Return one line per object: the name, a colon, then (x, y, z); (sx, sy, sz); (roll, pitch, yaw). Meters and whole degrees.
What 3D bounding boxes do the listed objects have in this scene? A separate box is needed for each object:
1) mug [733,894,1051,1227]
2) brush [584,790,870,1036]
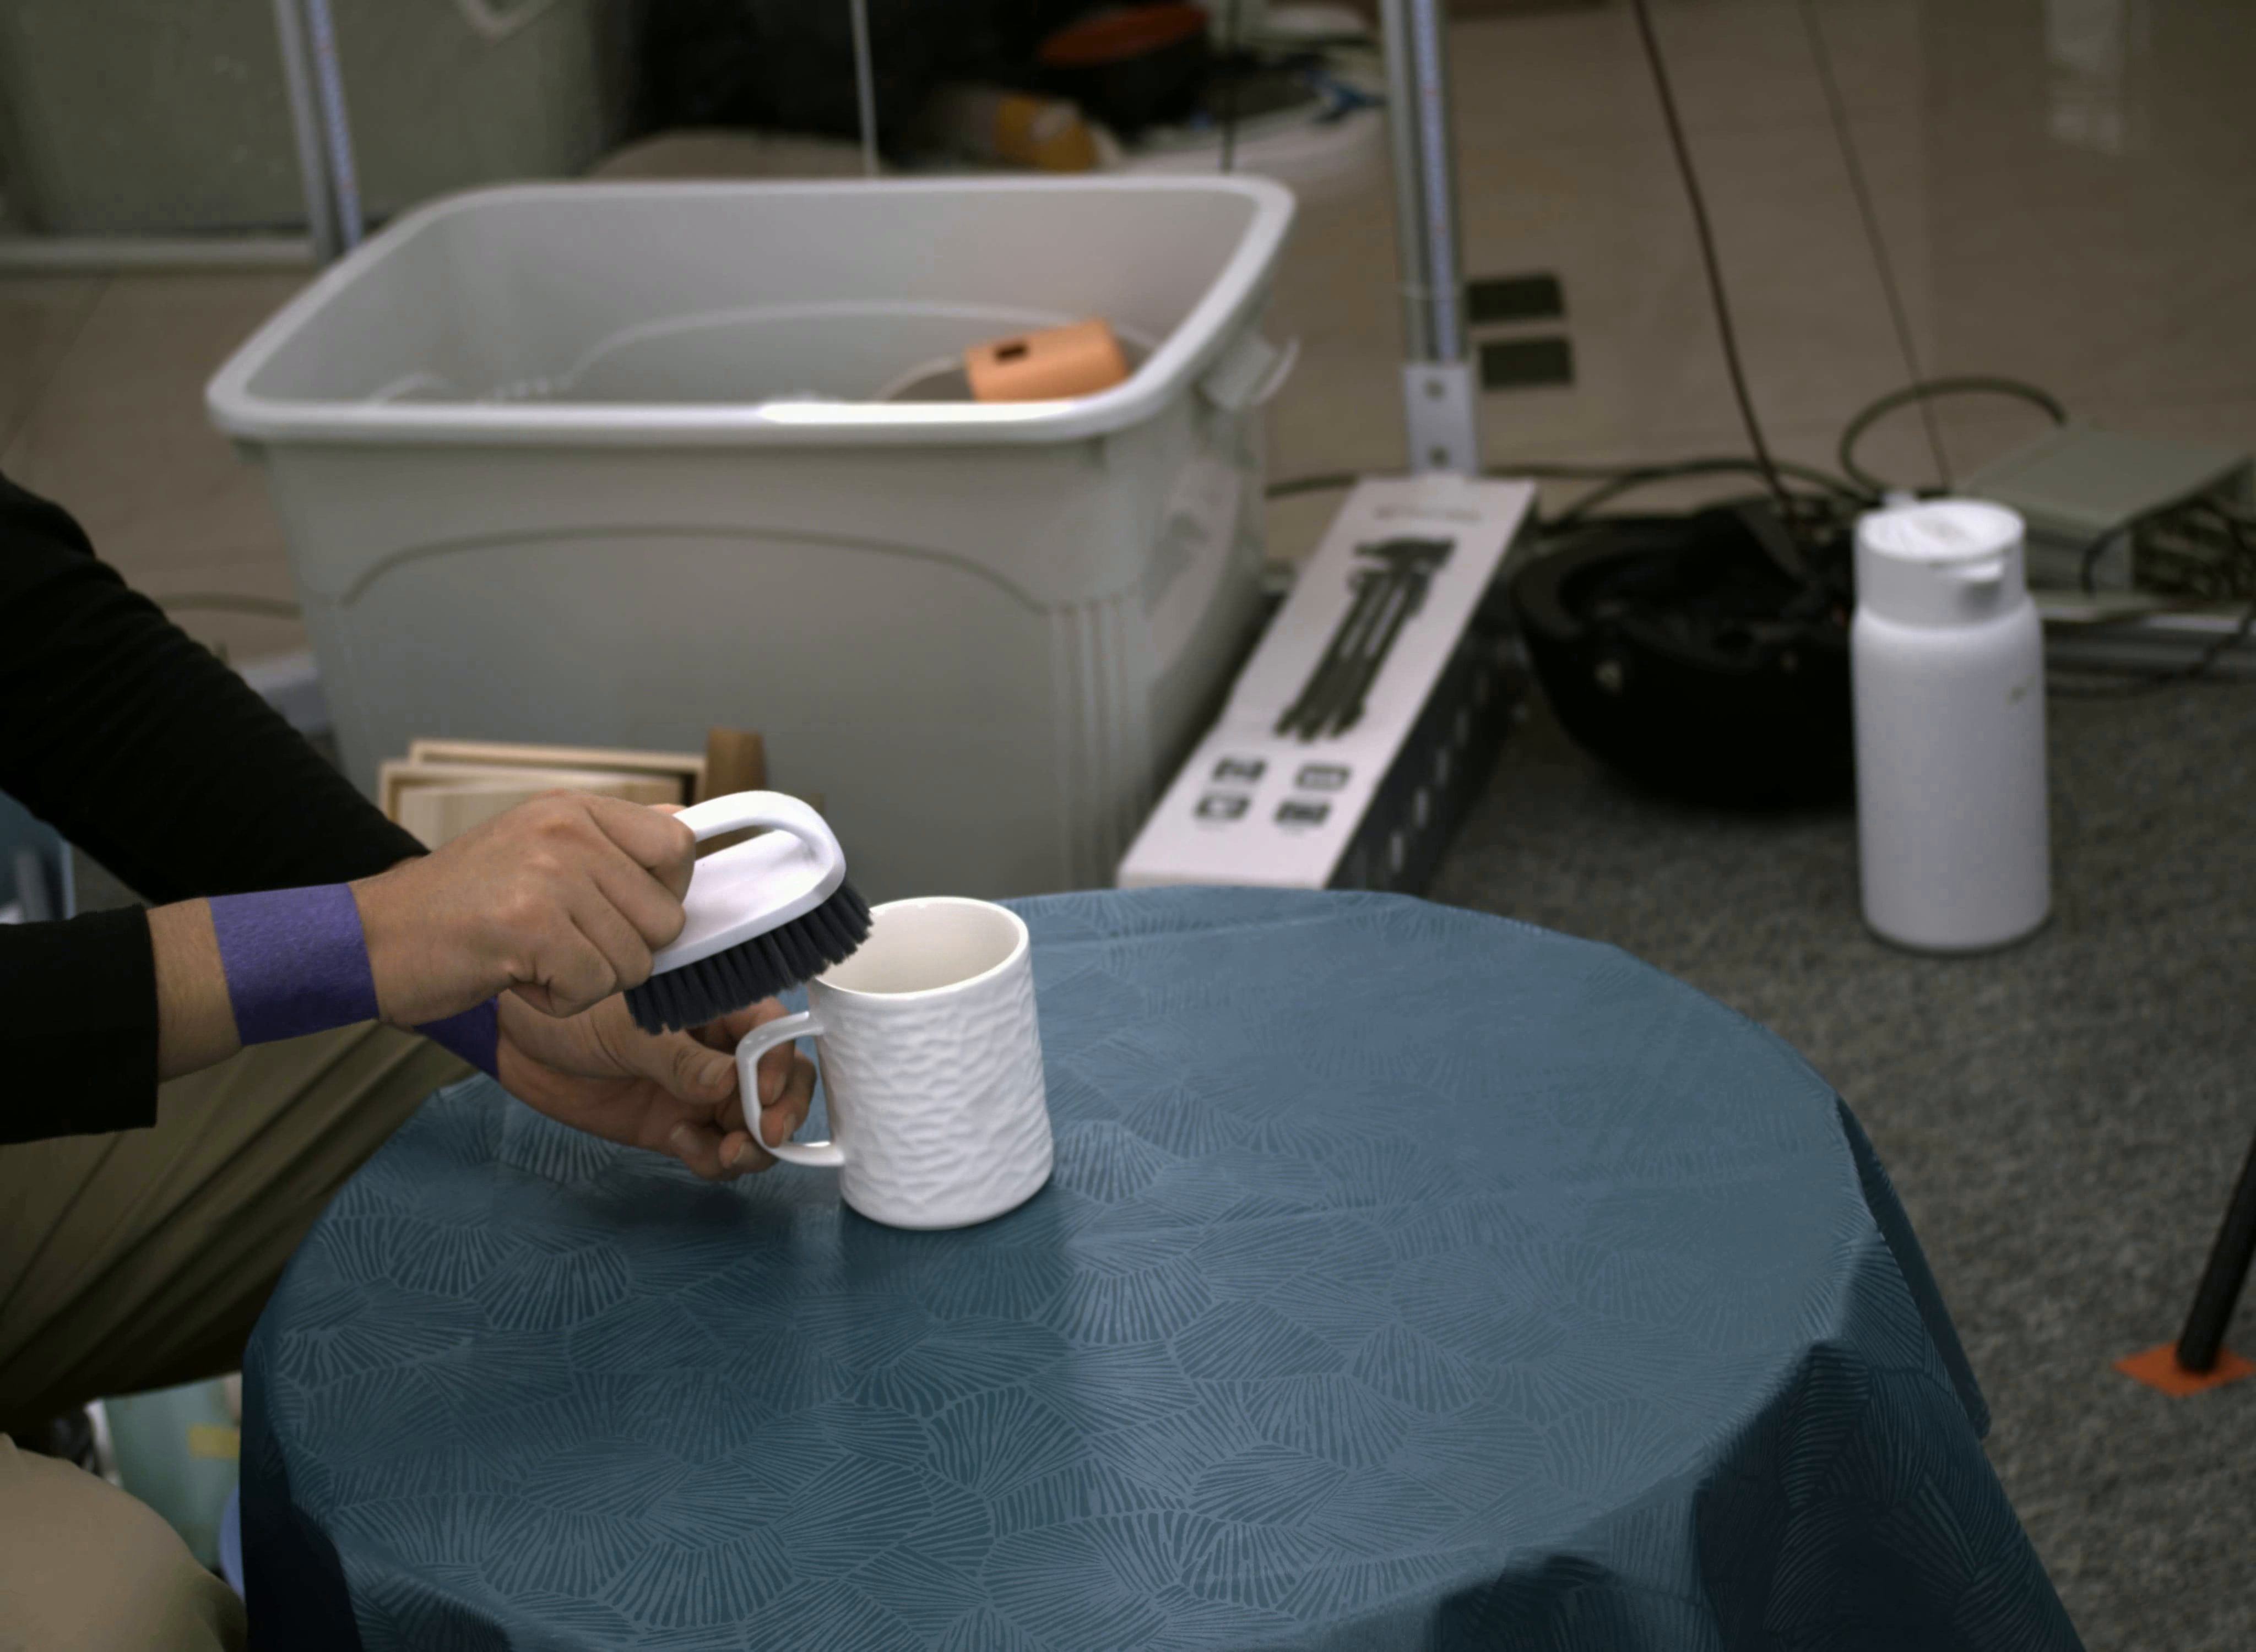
mug: (-0.090, 0.093, 2.141); (0.118, 0.103, 0.084); (-16, 27, -19)
brush: (-0.152, 0.025, 2.075); (0.099, 0.074, 0.049); (-23, 35, -5)
